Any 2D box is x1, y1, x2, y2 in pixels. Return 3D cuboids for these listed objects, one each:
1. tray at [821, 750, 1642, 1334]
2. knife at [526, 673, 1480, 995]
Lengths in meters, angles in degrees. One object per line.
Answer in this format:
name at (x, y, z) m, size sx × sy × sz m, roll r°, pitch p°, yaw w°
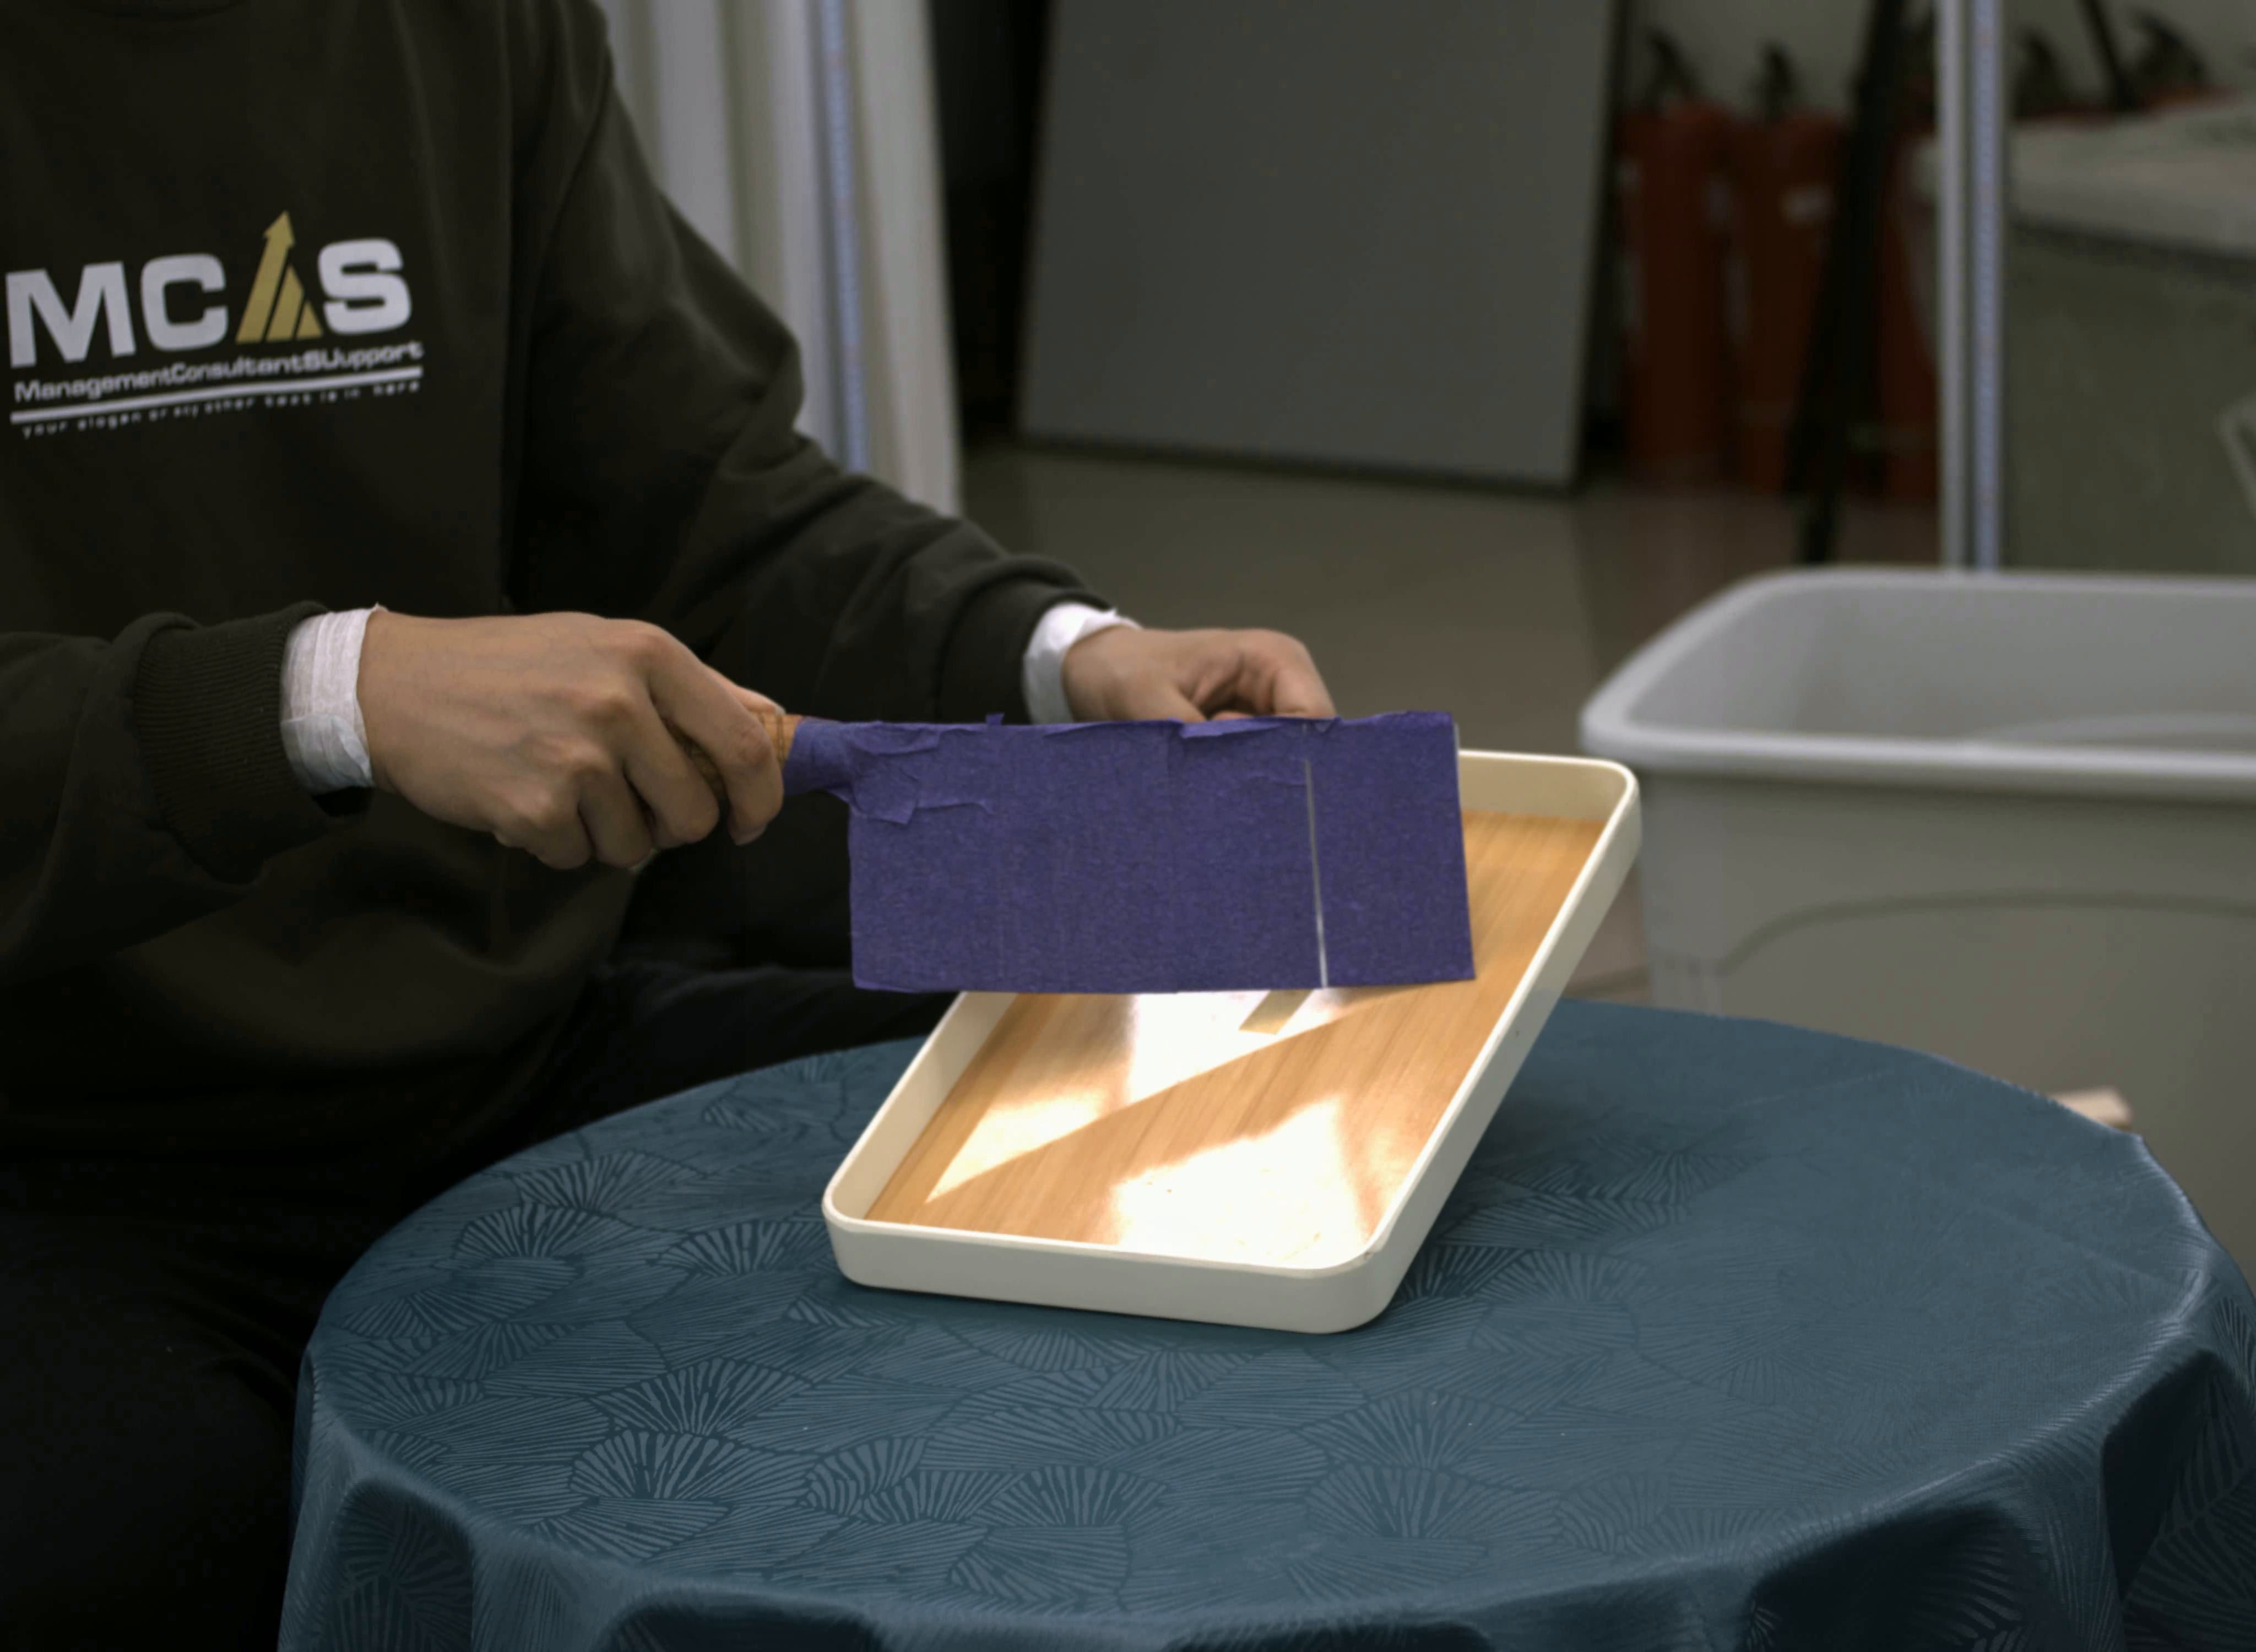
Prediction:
tray at (0.040, 0.062, 1.764) m, size 0.192 × 0.027 × 0.298 m, roll 3°, pitch 33°, yaw 25°
knife at (-0.039, 0.006, 1.761) m, size 0.310 × 0.105 × 0.032 m, roll -3°, pitch -12°, yaw -4°
